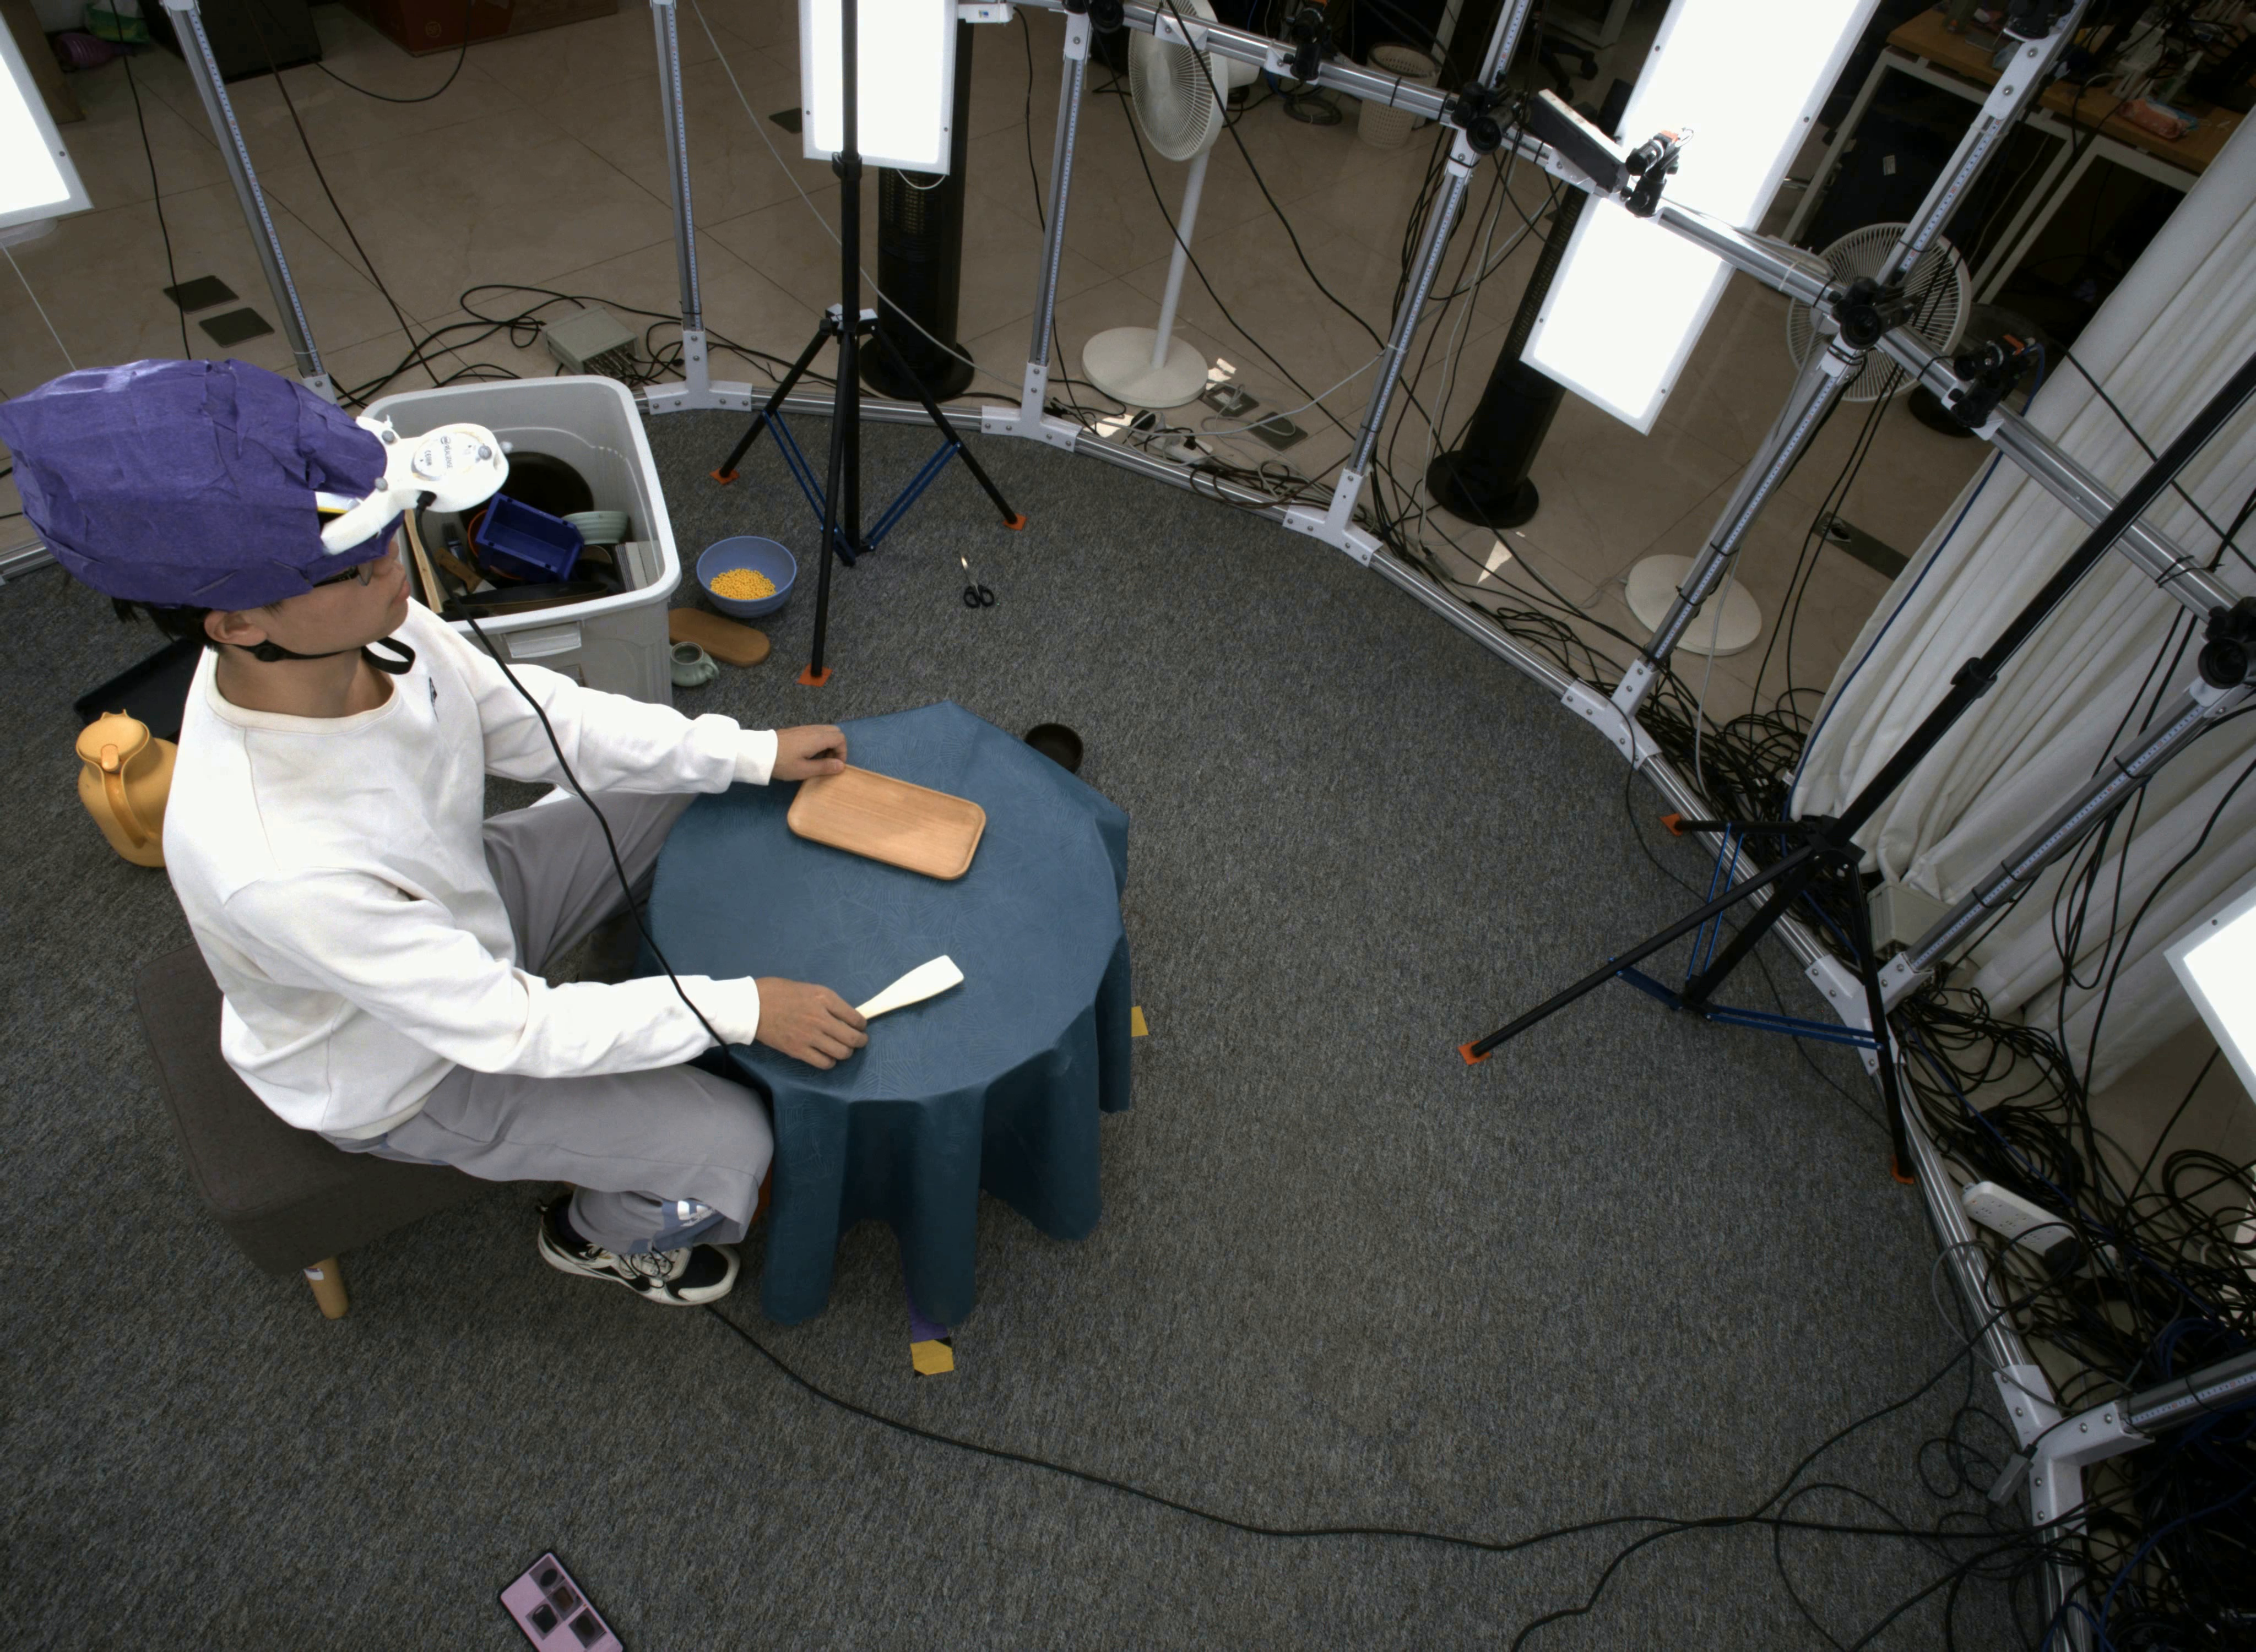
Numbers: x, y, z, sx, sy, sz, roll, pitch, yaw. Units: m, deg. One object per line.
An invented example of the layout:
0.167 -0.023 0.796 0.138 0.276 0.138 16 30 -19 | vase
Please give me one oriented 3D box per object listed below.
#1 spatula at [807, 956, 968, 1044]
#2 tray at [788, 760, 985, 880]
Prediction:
-0.297 0.214 1.596 0.208 0.005 0.049 -24 52 -27 | spatula
-0.323 -0.008 1.749 0.248 0.023 0.129 17 53 -1 | tray
